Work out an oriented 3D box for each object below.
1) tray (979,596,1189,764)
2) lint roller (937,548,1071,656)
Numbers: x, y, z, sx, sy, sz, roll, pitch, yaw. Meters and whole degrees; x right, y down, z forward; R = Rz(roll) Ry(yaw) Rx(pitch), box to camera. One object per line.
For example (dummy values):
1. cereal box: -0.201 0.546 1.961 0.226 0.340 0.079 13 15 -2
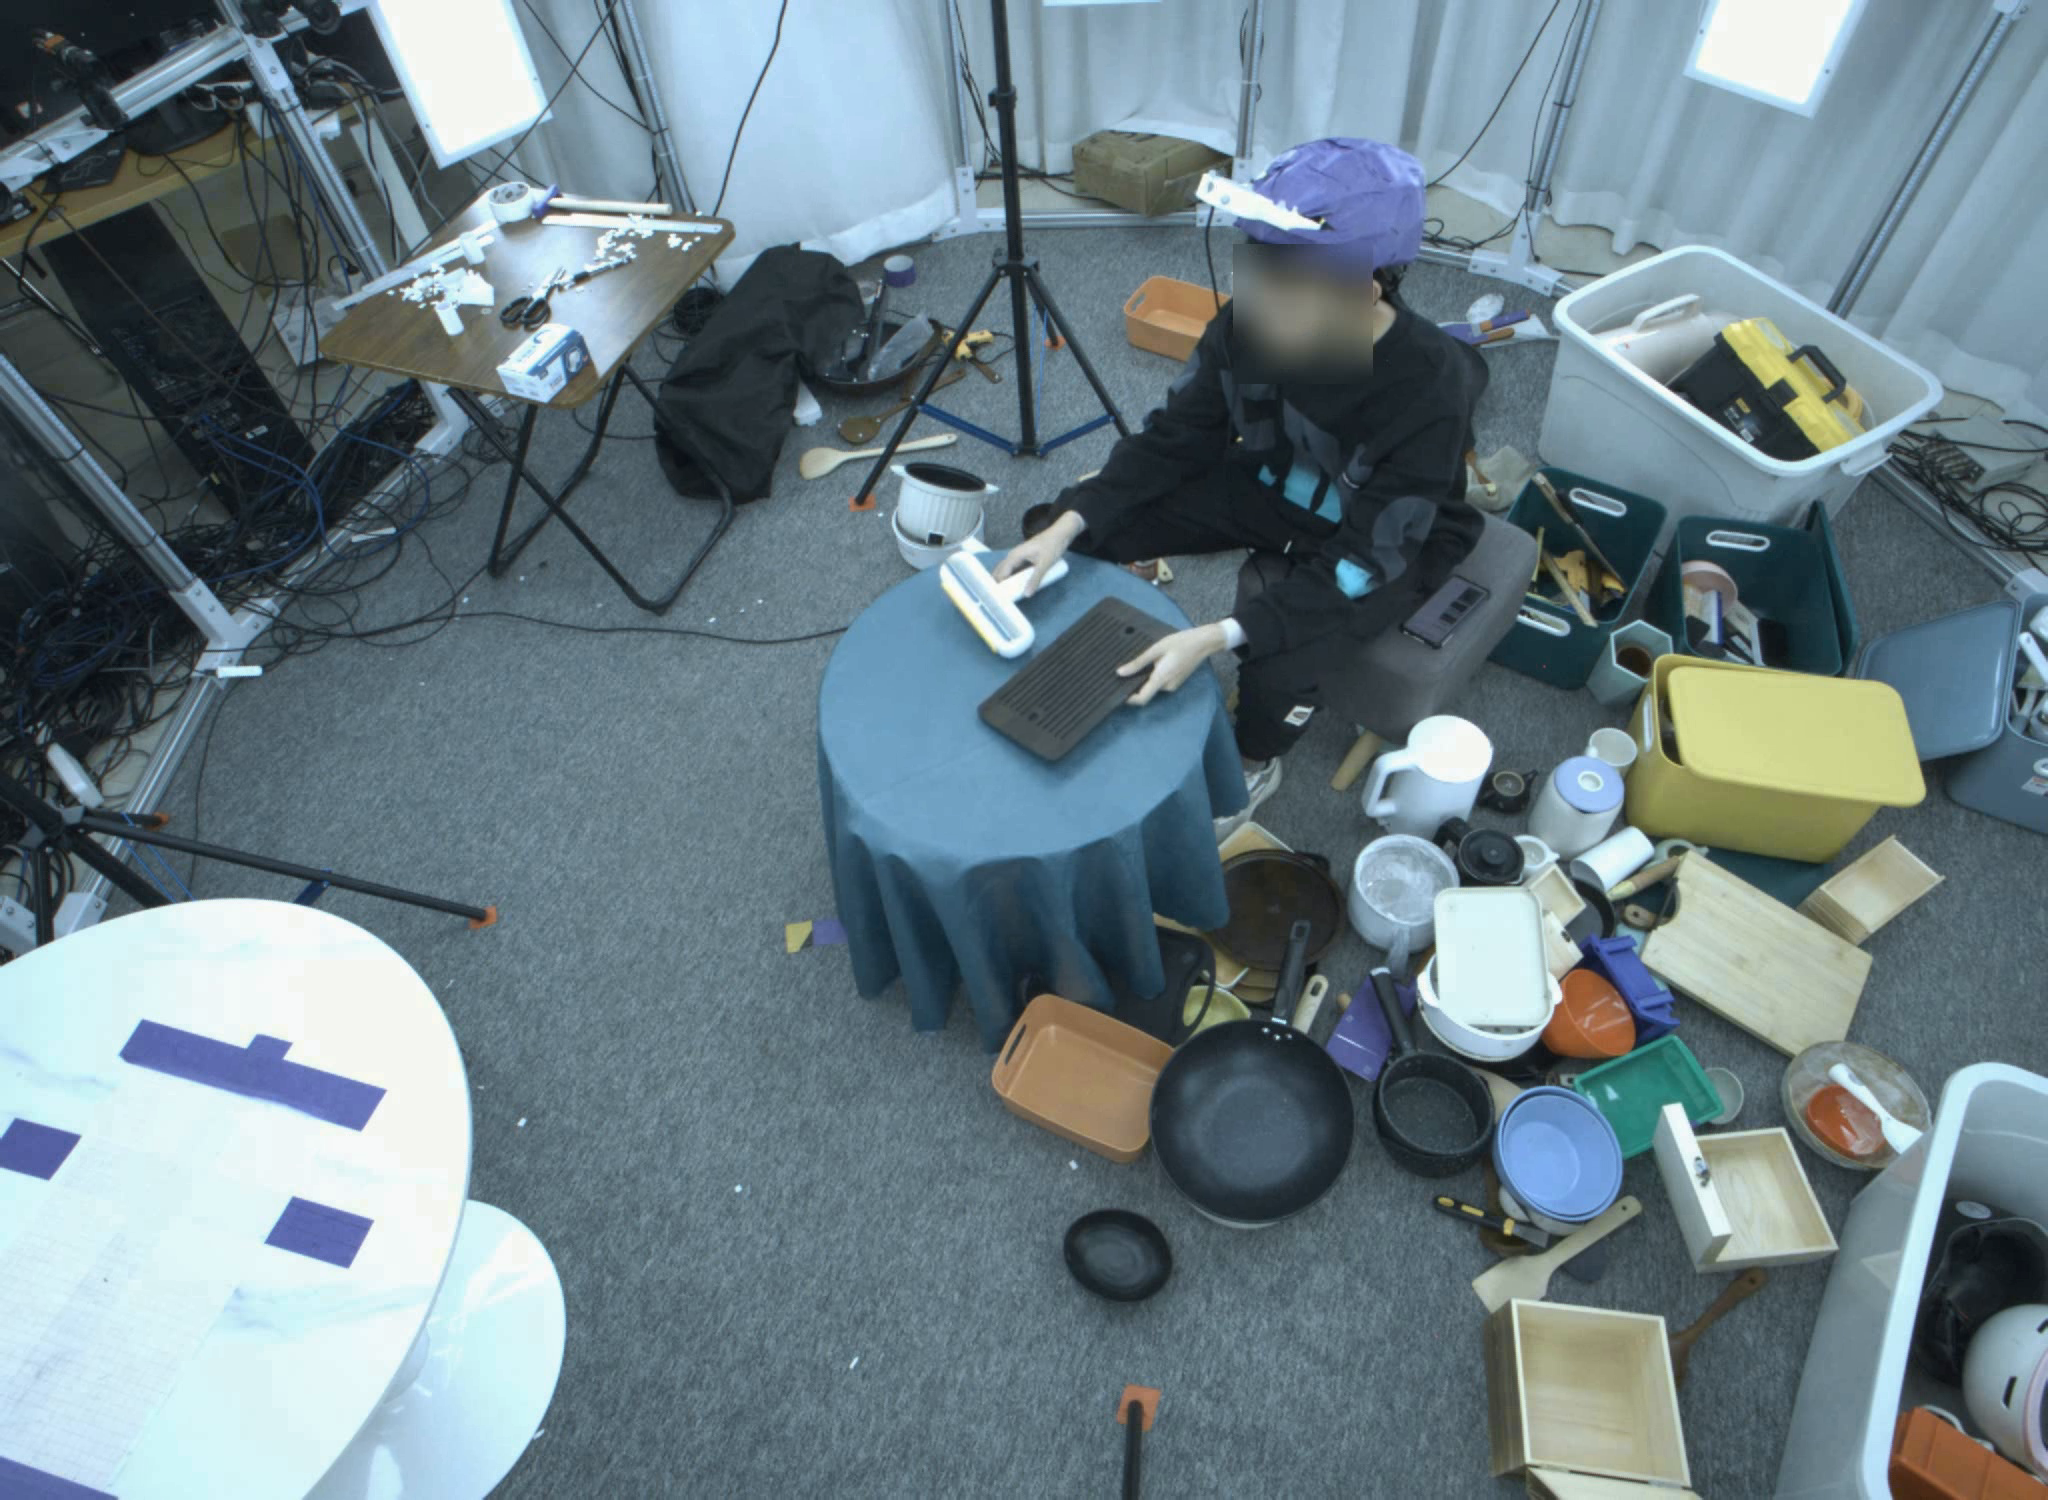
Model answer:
1. tray: 0.091 -0.108 1.830 0.166 0.019 0.308 33 63 31
2. lint roller: -0.013 -0.254 1.906 0.193 0.075 0.190 -31 69 -11
